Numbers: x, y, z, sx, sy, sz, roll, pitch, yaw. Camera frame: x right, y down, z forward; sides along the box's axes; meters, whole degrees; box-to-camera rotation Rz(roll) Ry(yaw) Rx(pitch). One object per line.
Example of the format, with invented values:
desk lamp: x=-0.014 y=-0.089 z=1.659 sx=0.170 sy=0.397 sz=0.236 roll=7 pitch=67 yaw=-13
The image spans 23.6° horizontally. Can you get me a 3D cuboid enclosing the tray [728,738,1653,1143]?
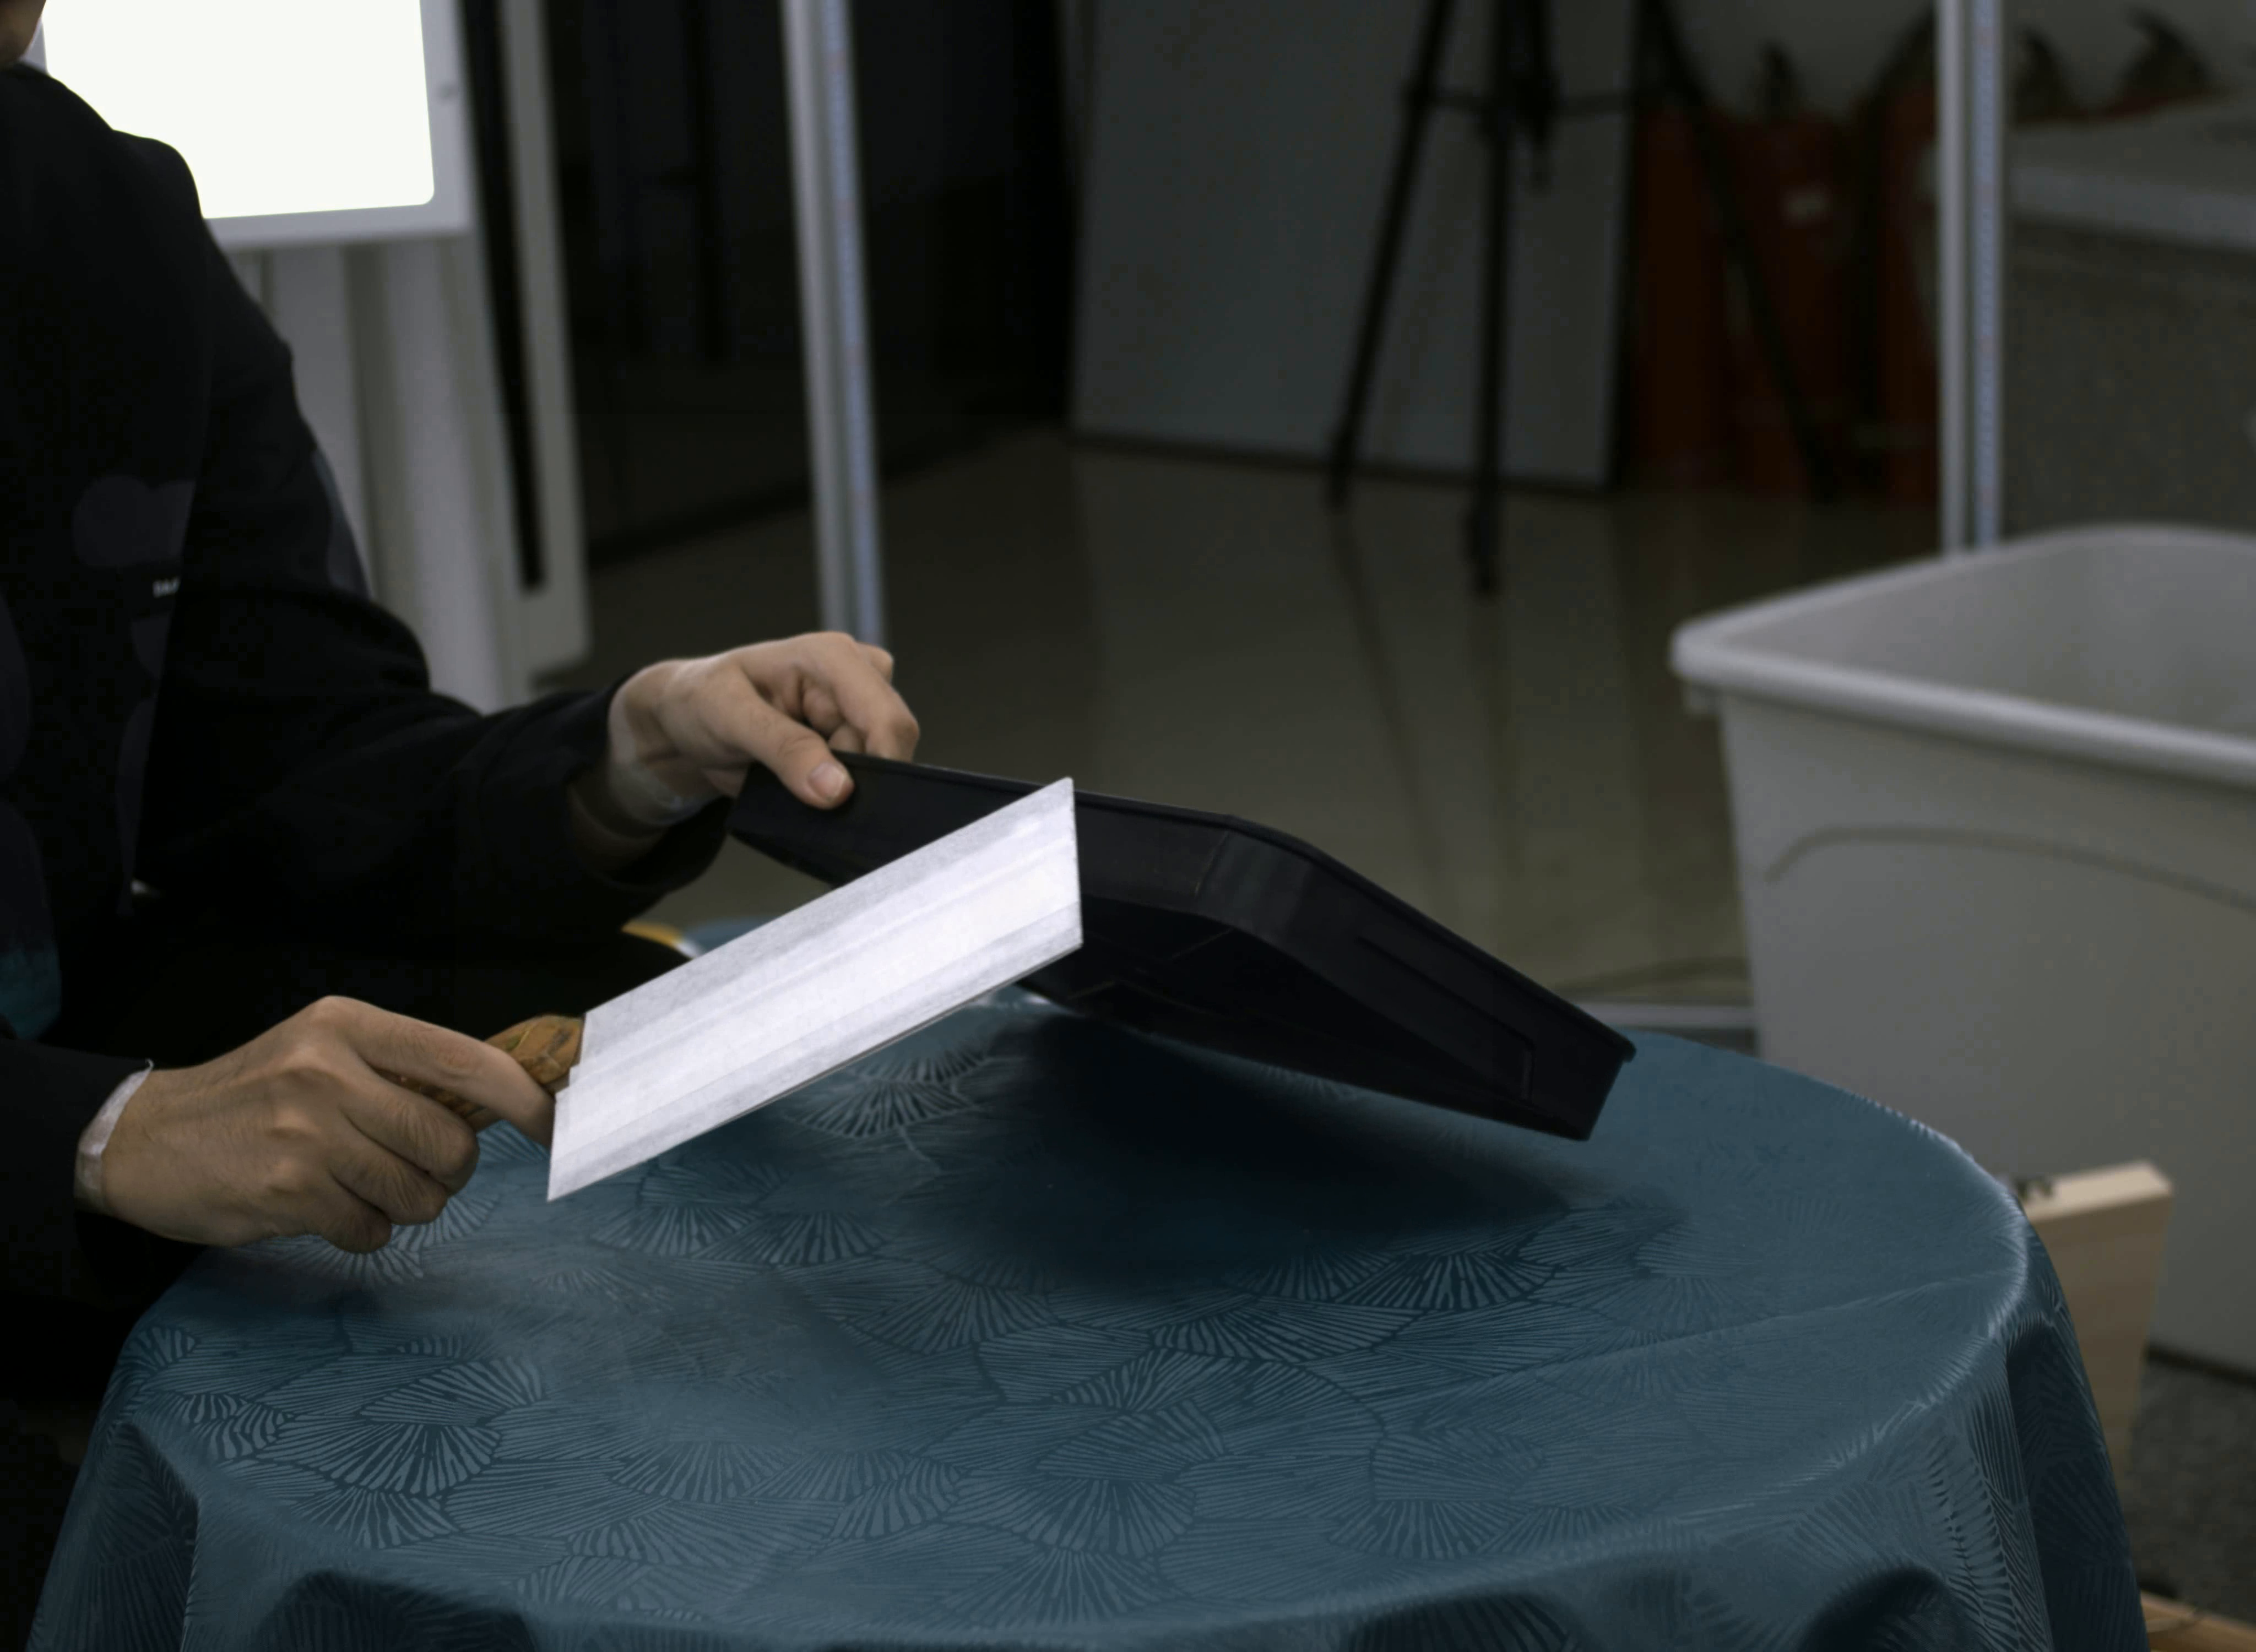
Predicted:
tray: x=0.014 y=0.036 z=1.800 sx=0.181 sy=0.037 sz=0.321 roll=32 pitch=-13 yaw=-35

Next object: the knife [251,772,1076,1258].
knife: x=-0.147 y=0.073 z=1.670 sx=0.306 sy=0.021 sz=0.093 roll=-27 pitch=32 yaw=16
